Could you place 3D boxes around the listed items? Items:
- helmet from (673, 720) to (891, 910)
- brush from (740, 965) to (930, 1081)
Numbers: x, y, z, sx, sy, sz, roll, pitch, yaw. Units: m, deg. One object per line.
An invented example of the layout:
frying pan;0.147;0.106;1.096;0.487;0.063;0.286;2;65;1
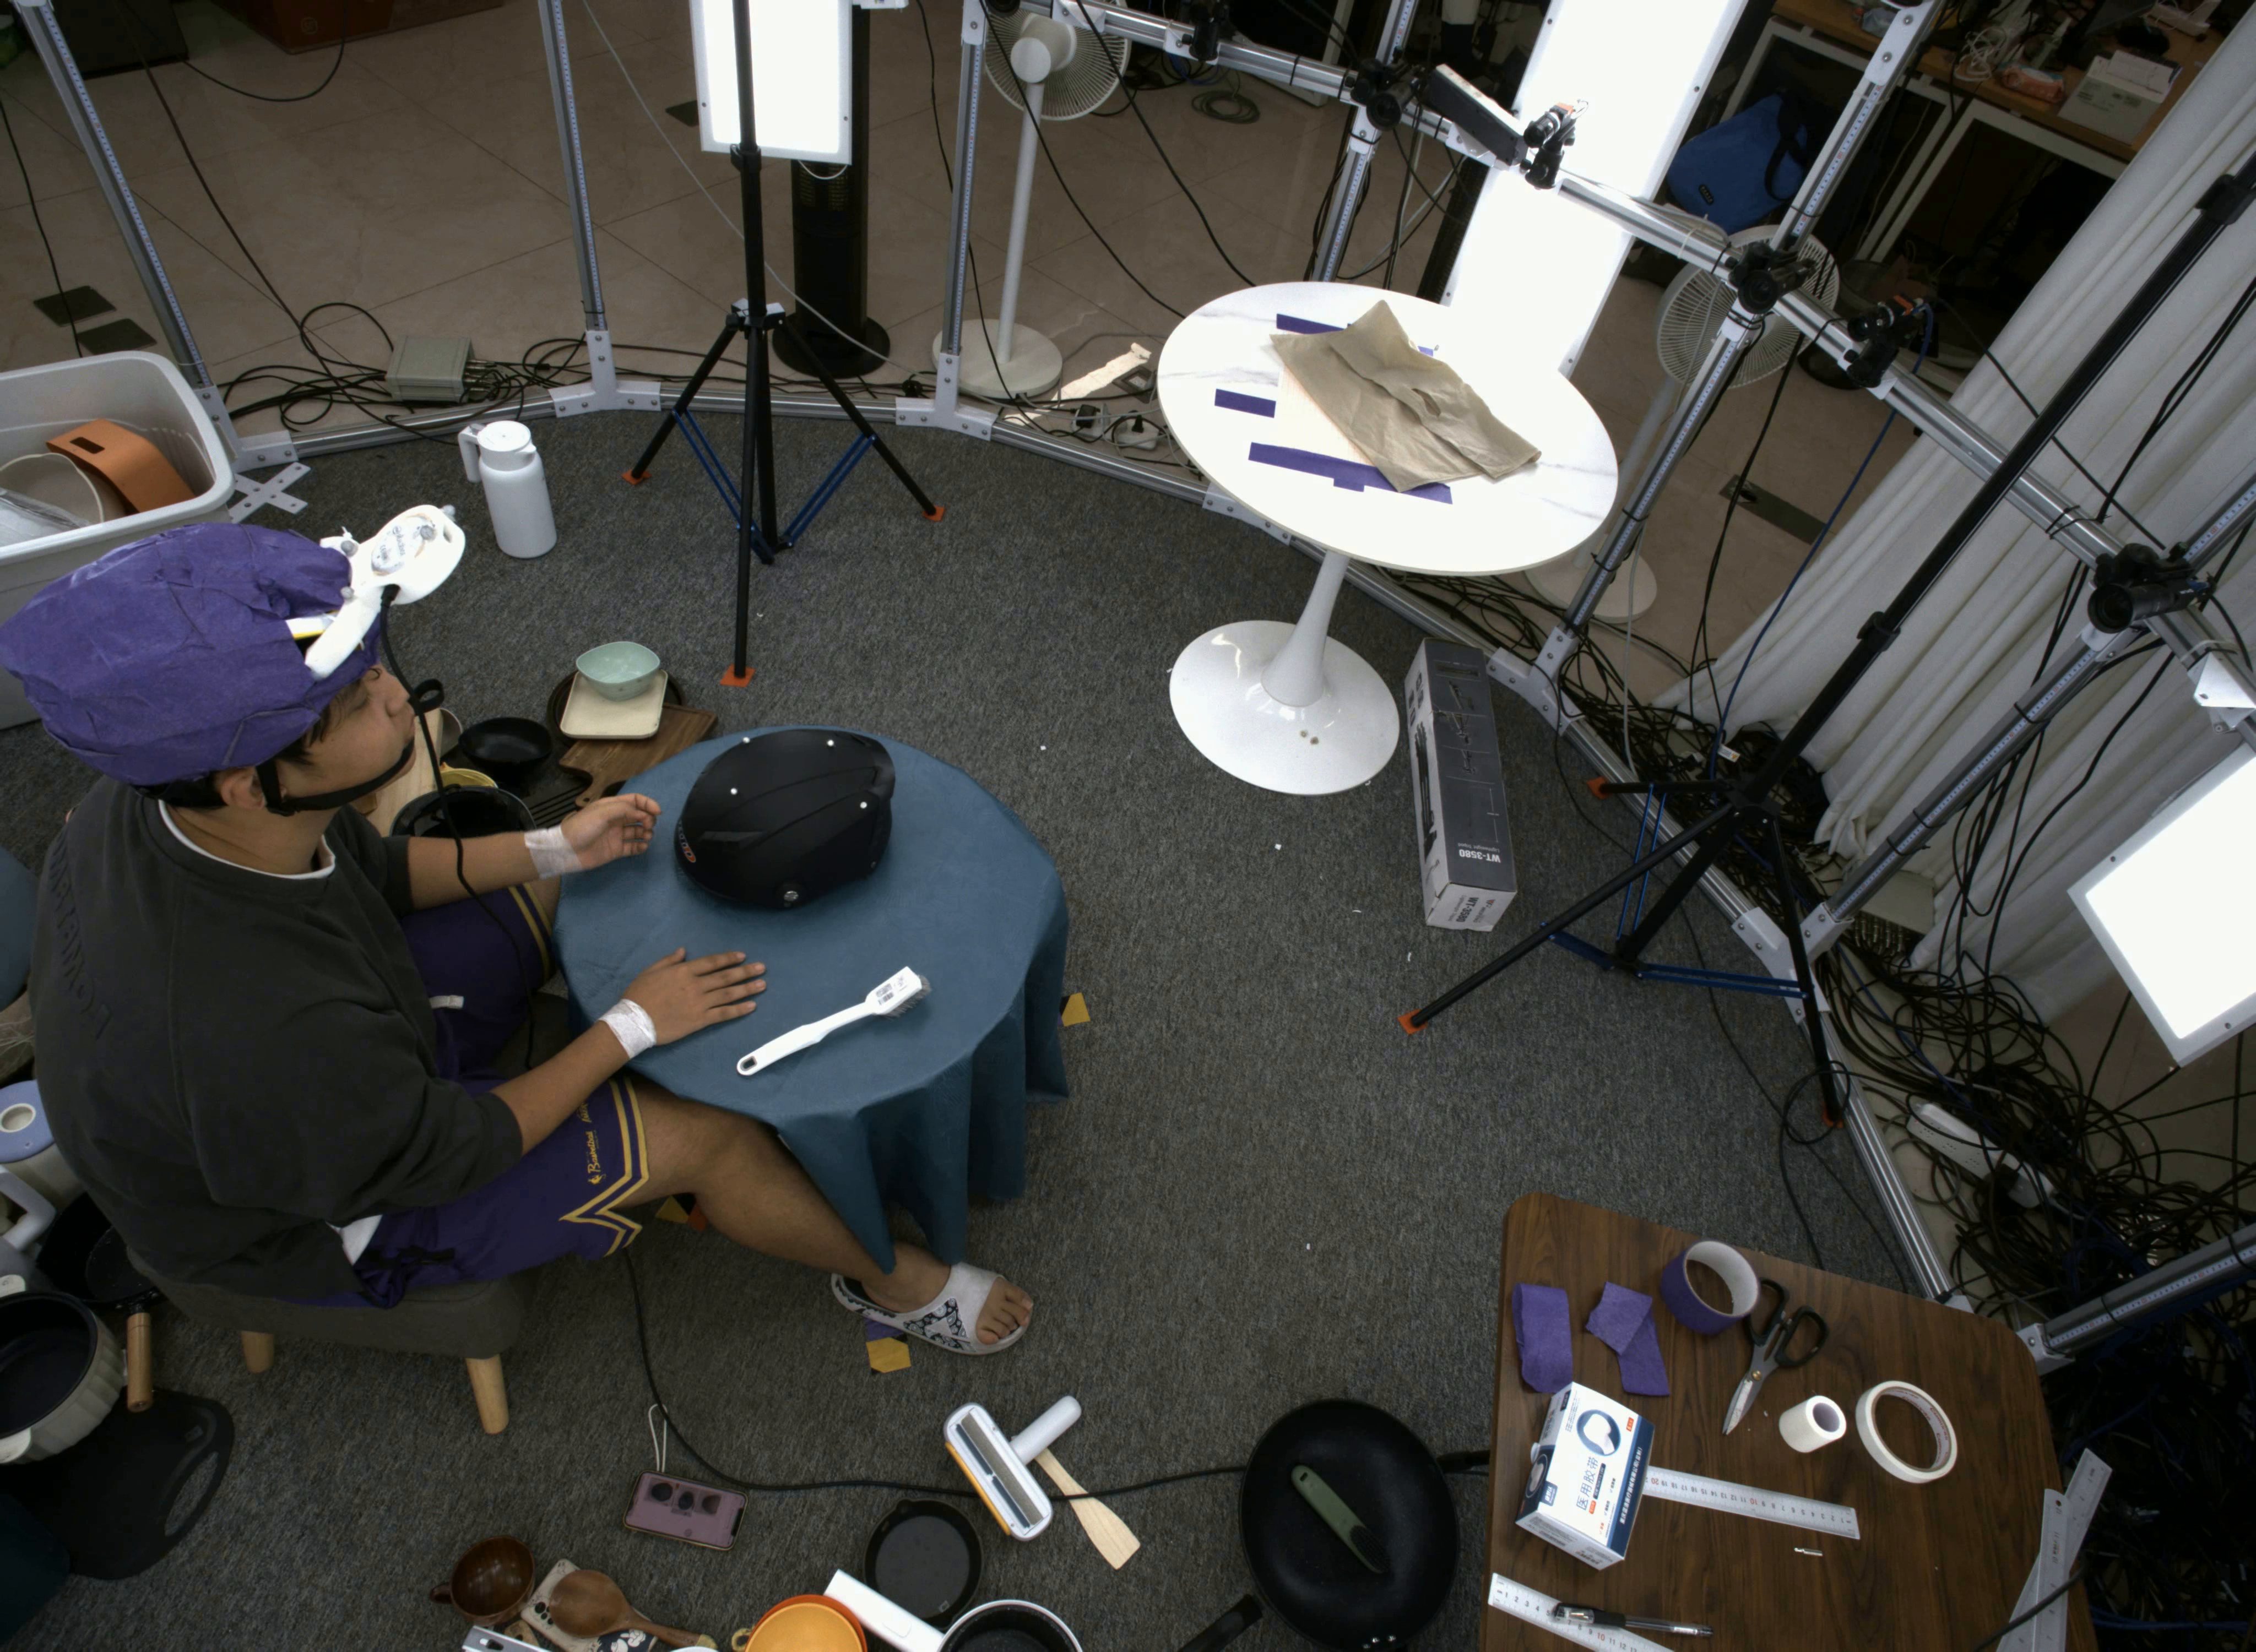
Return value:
helmet;-0.437;-0.032;1.647;0.278;0.176;0.240;-13;57;-26
brush;-0.349;0.239;1.555;0.243;0.051;0.033;-30;63;-16
